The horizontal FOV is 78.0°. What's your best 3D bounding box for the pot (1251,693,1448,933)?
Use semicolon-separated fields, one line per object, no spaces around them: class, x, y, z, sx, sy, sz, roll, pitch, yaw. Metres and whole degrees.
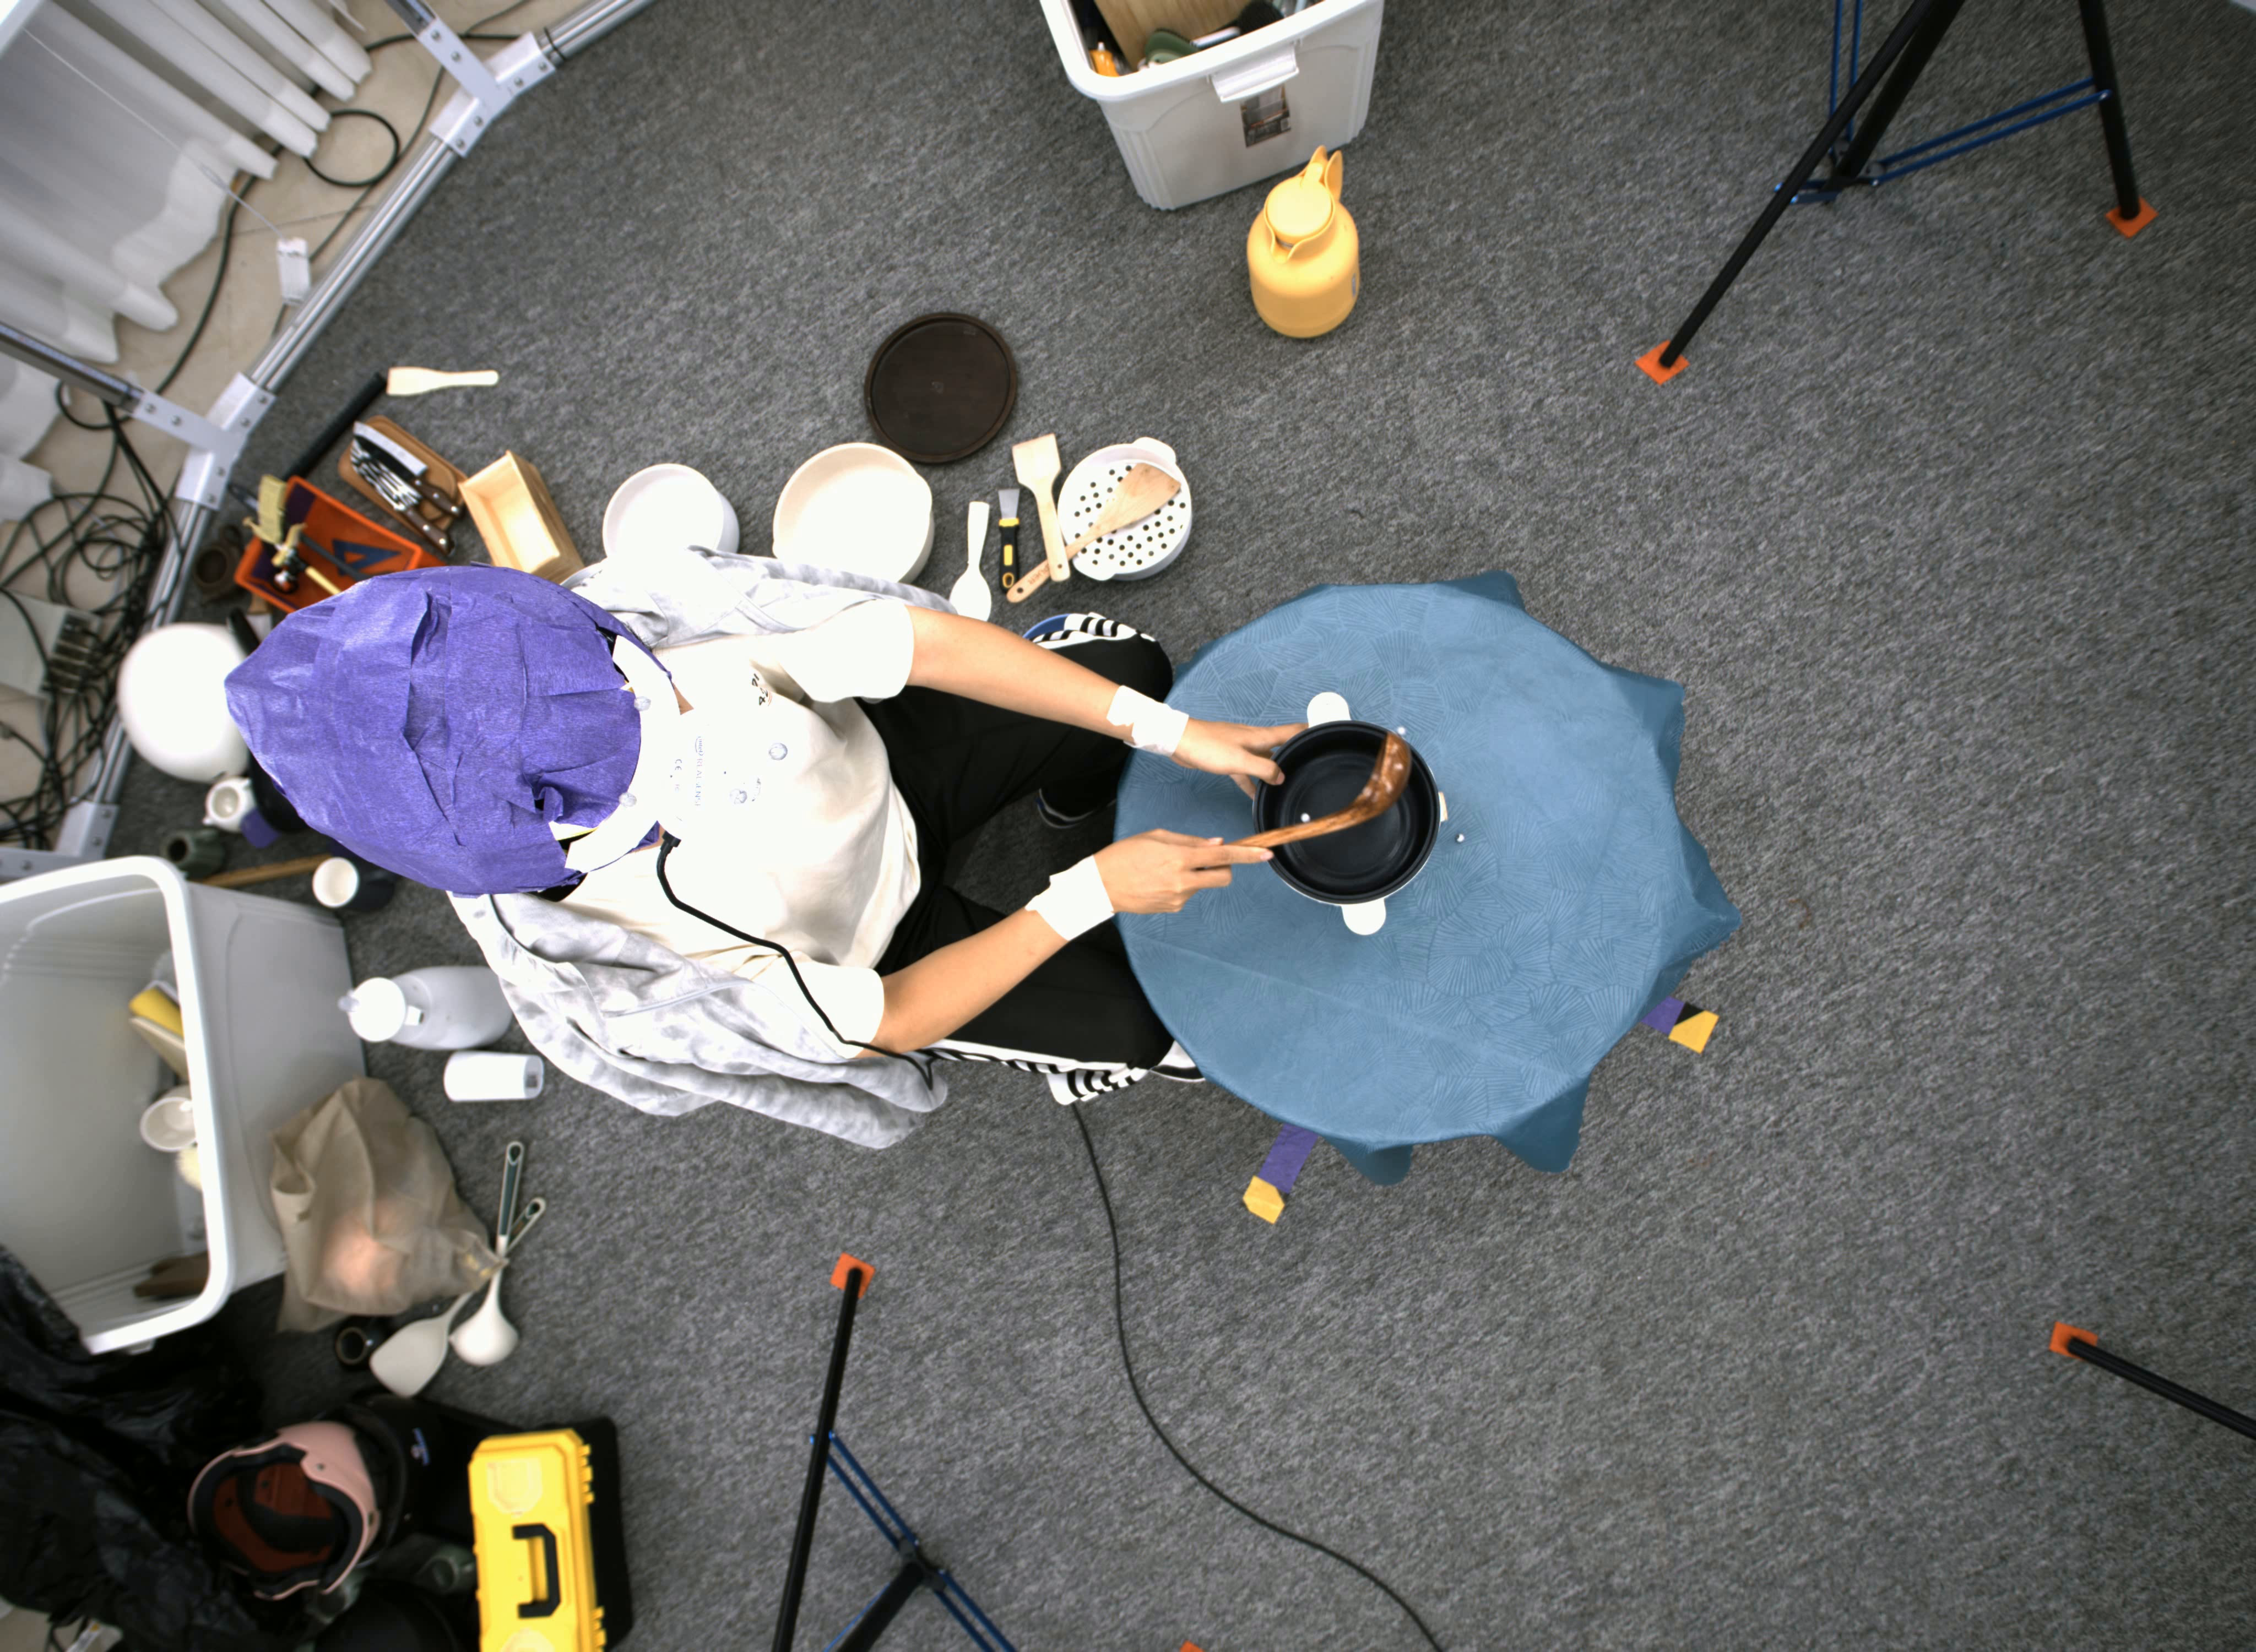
pot;0.227;-0.011;1.400;0.192;0.142;0.239;-11;85;13

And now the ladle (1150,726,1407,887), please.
ladle;0.138;-0.020;1.318;0.276;0.081;0.076;-19;92;12
